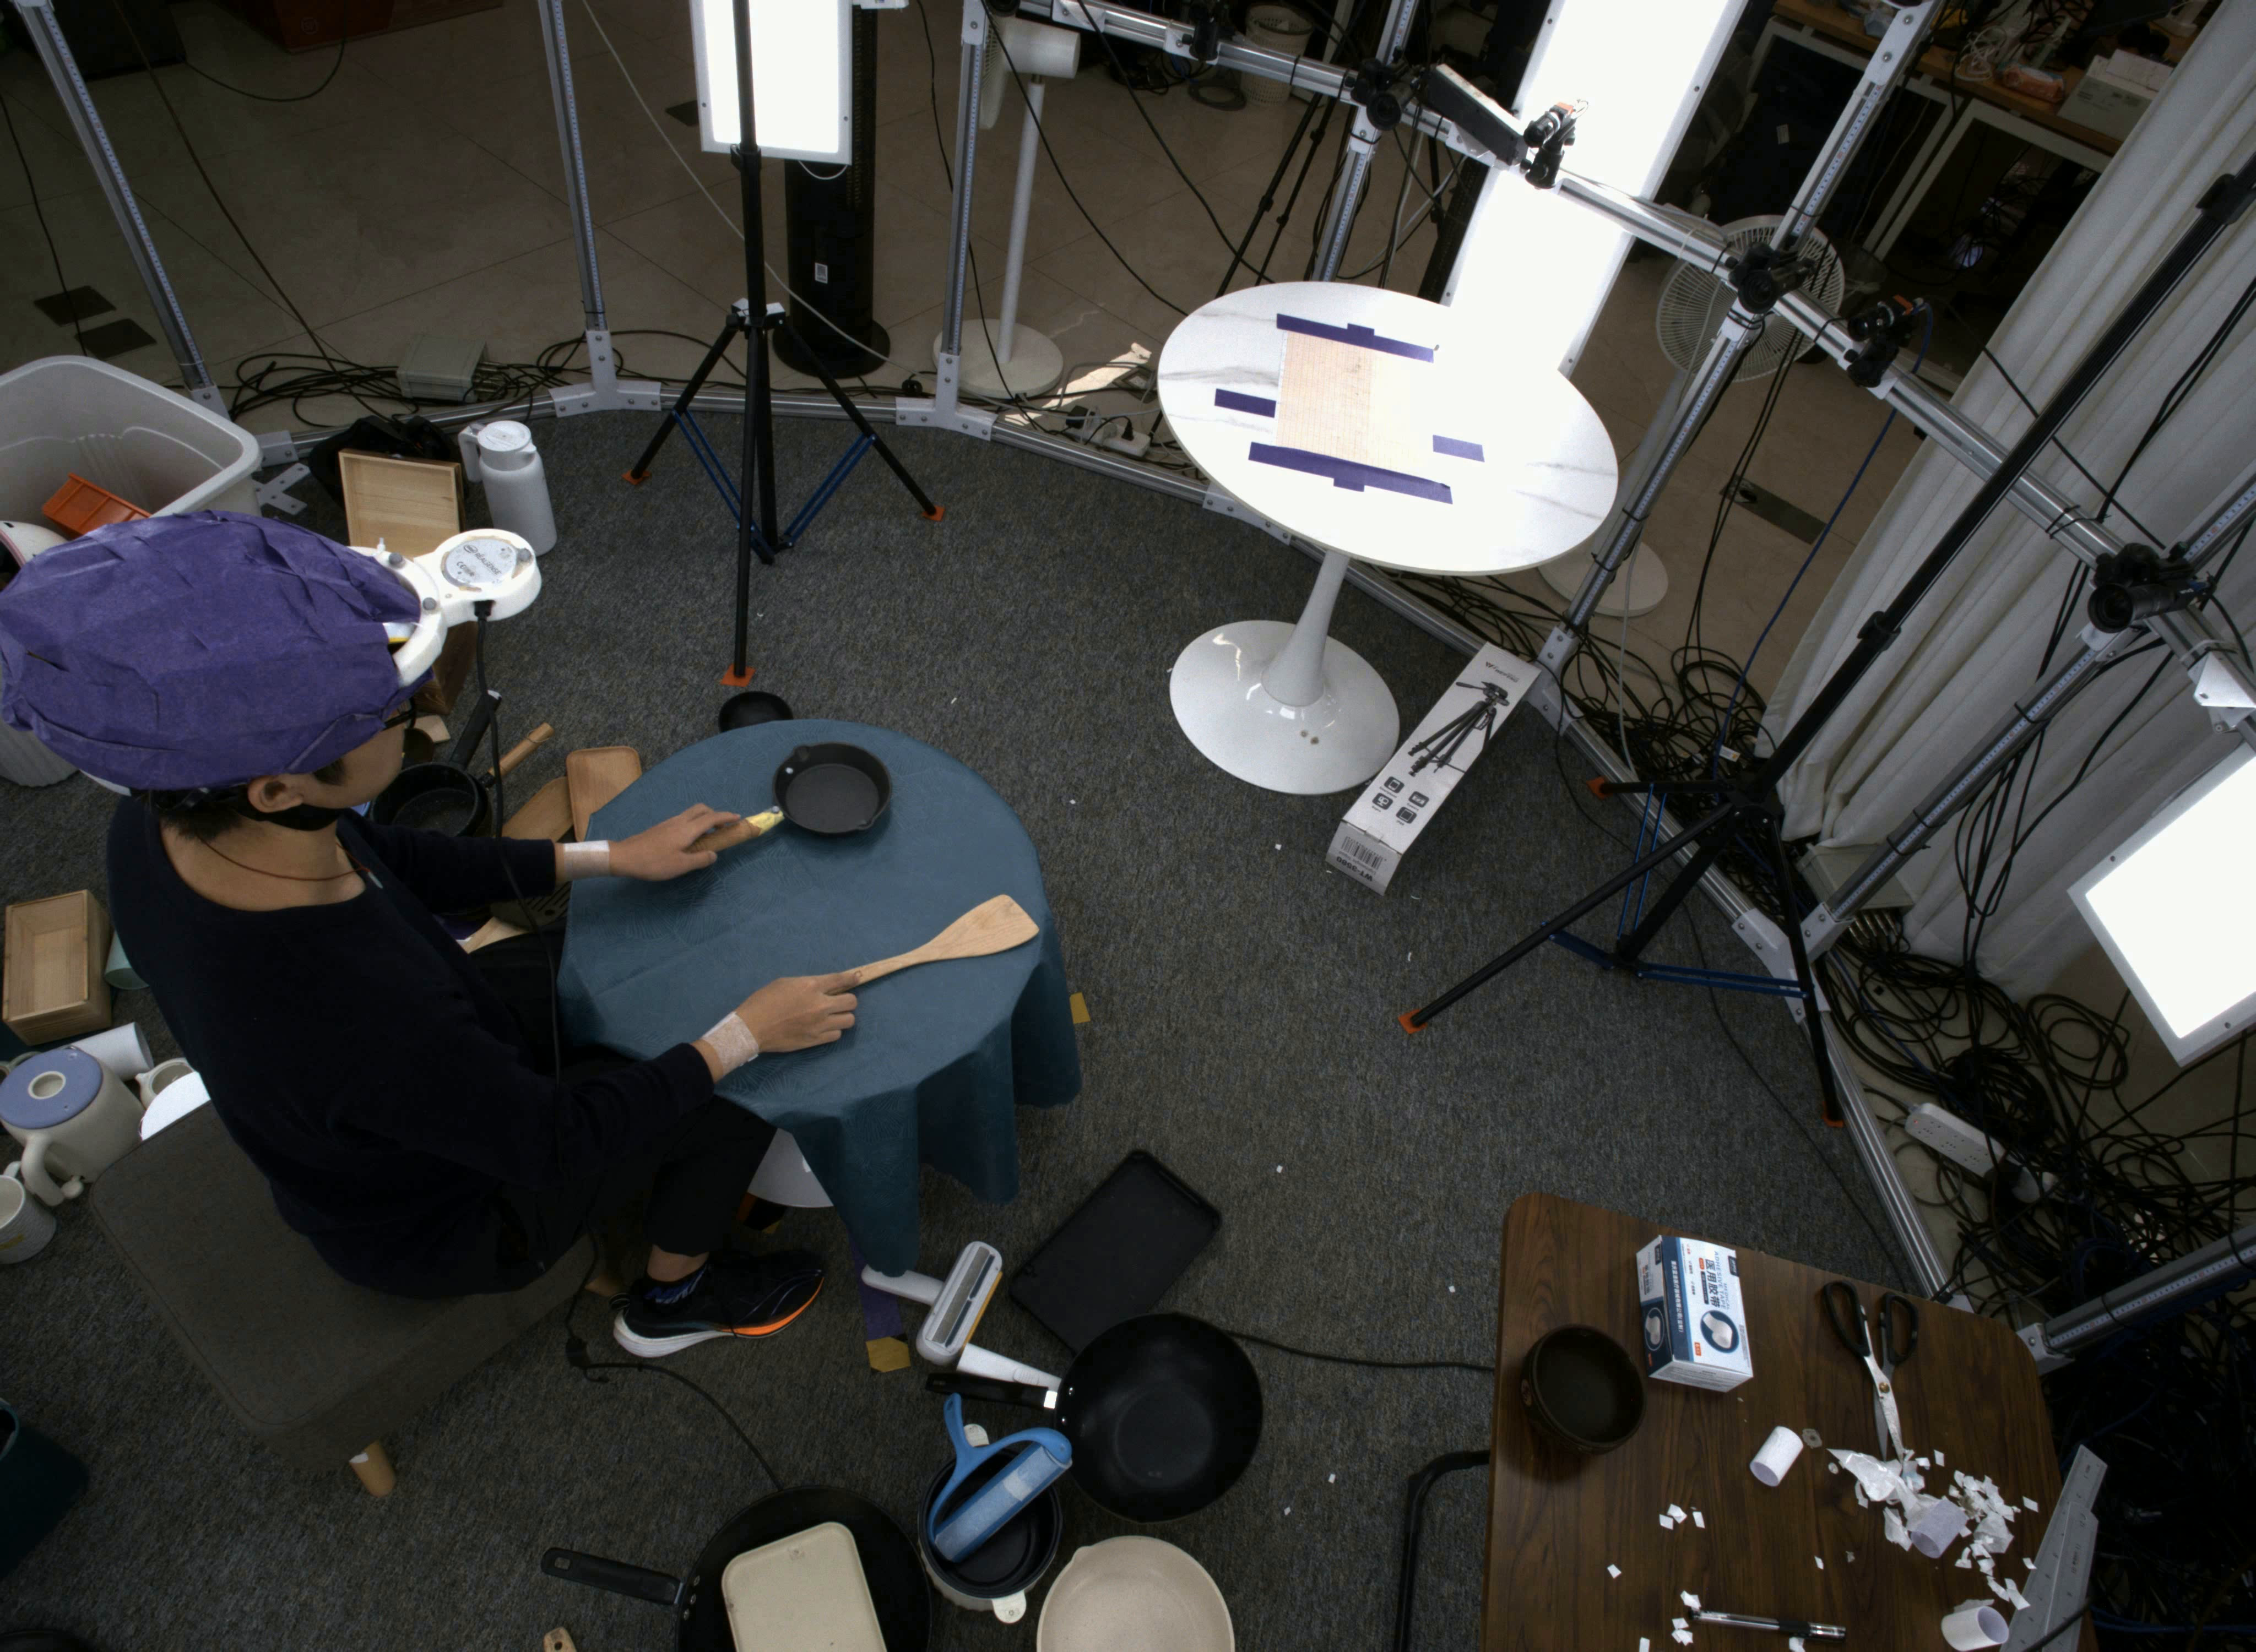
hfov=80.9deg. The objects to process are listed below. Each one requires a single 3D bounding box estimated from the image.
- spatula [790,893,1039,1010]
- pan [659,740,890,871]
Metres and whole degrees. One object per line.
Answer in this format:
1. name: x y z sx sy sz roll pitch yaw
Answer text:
1. spatula: -0.267 0.159 1.623 0.330 0.017 0.078 -19 58 -30
2. pan: -0.460 -0.015 1.683 0.326 0.050 0.165 -28 65 -32
